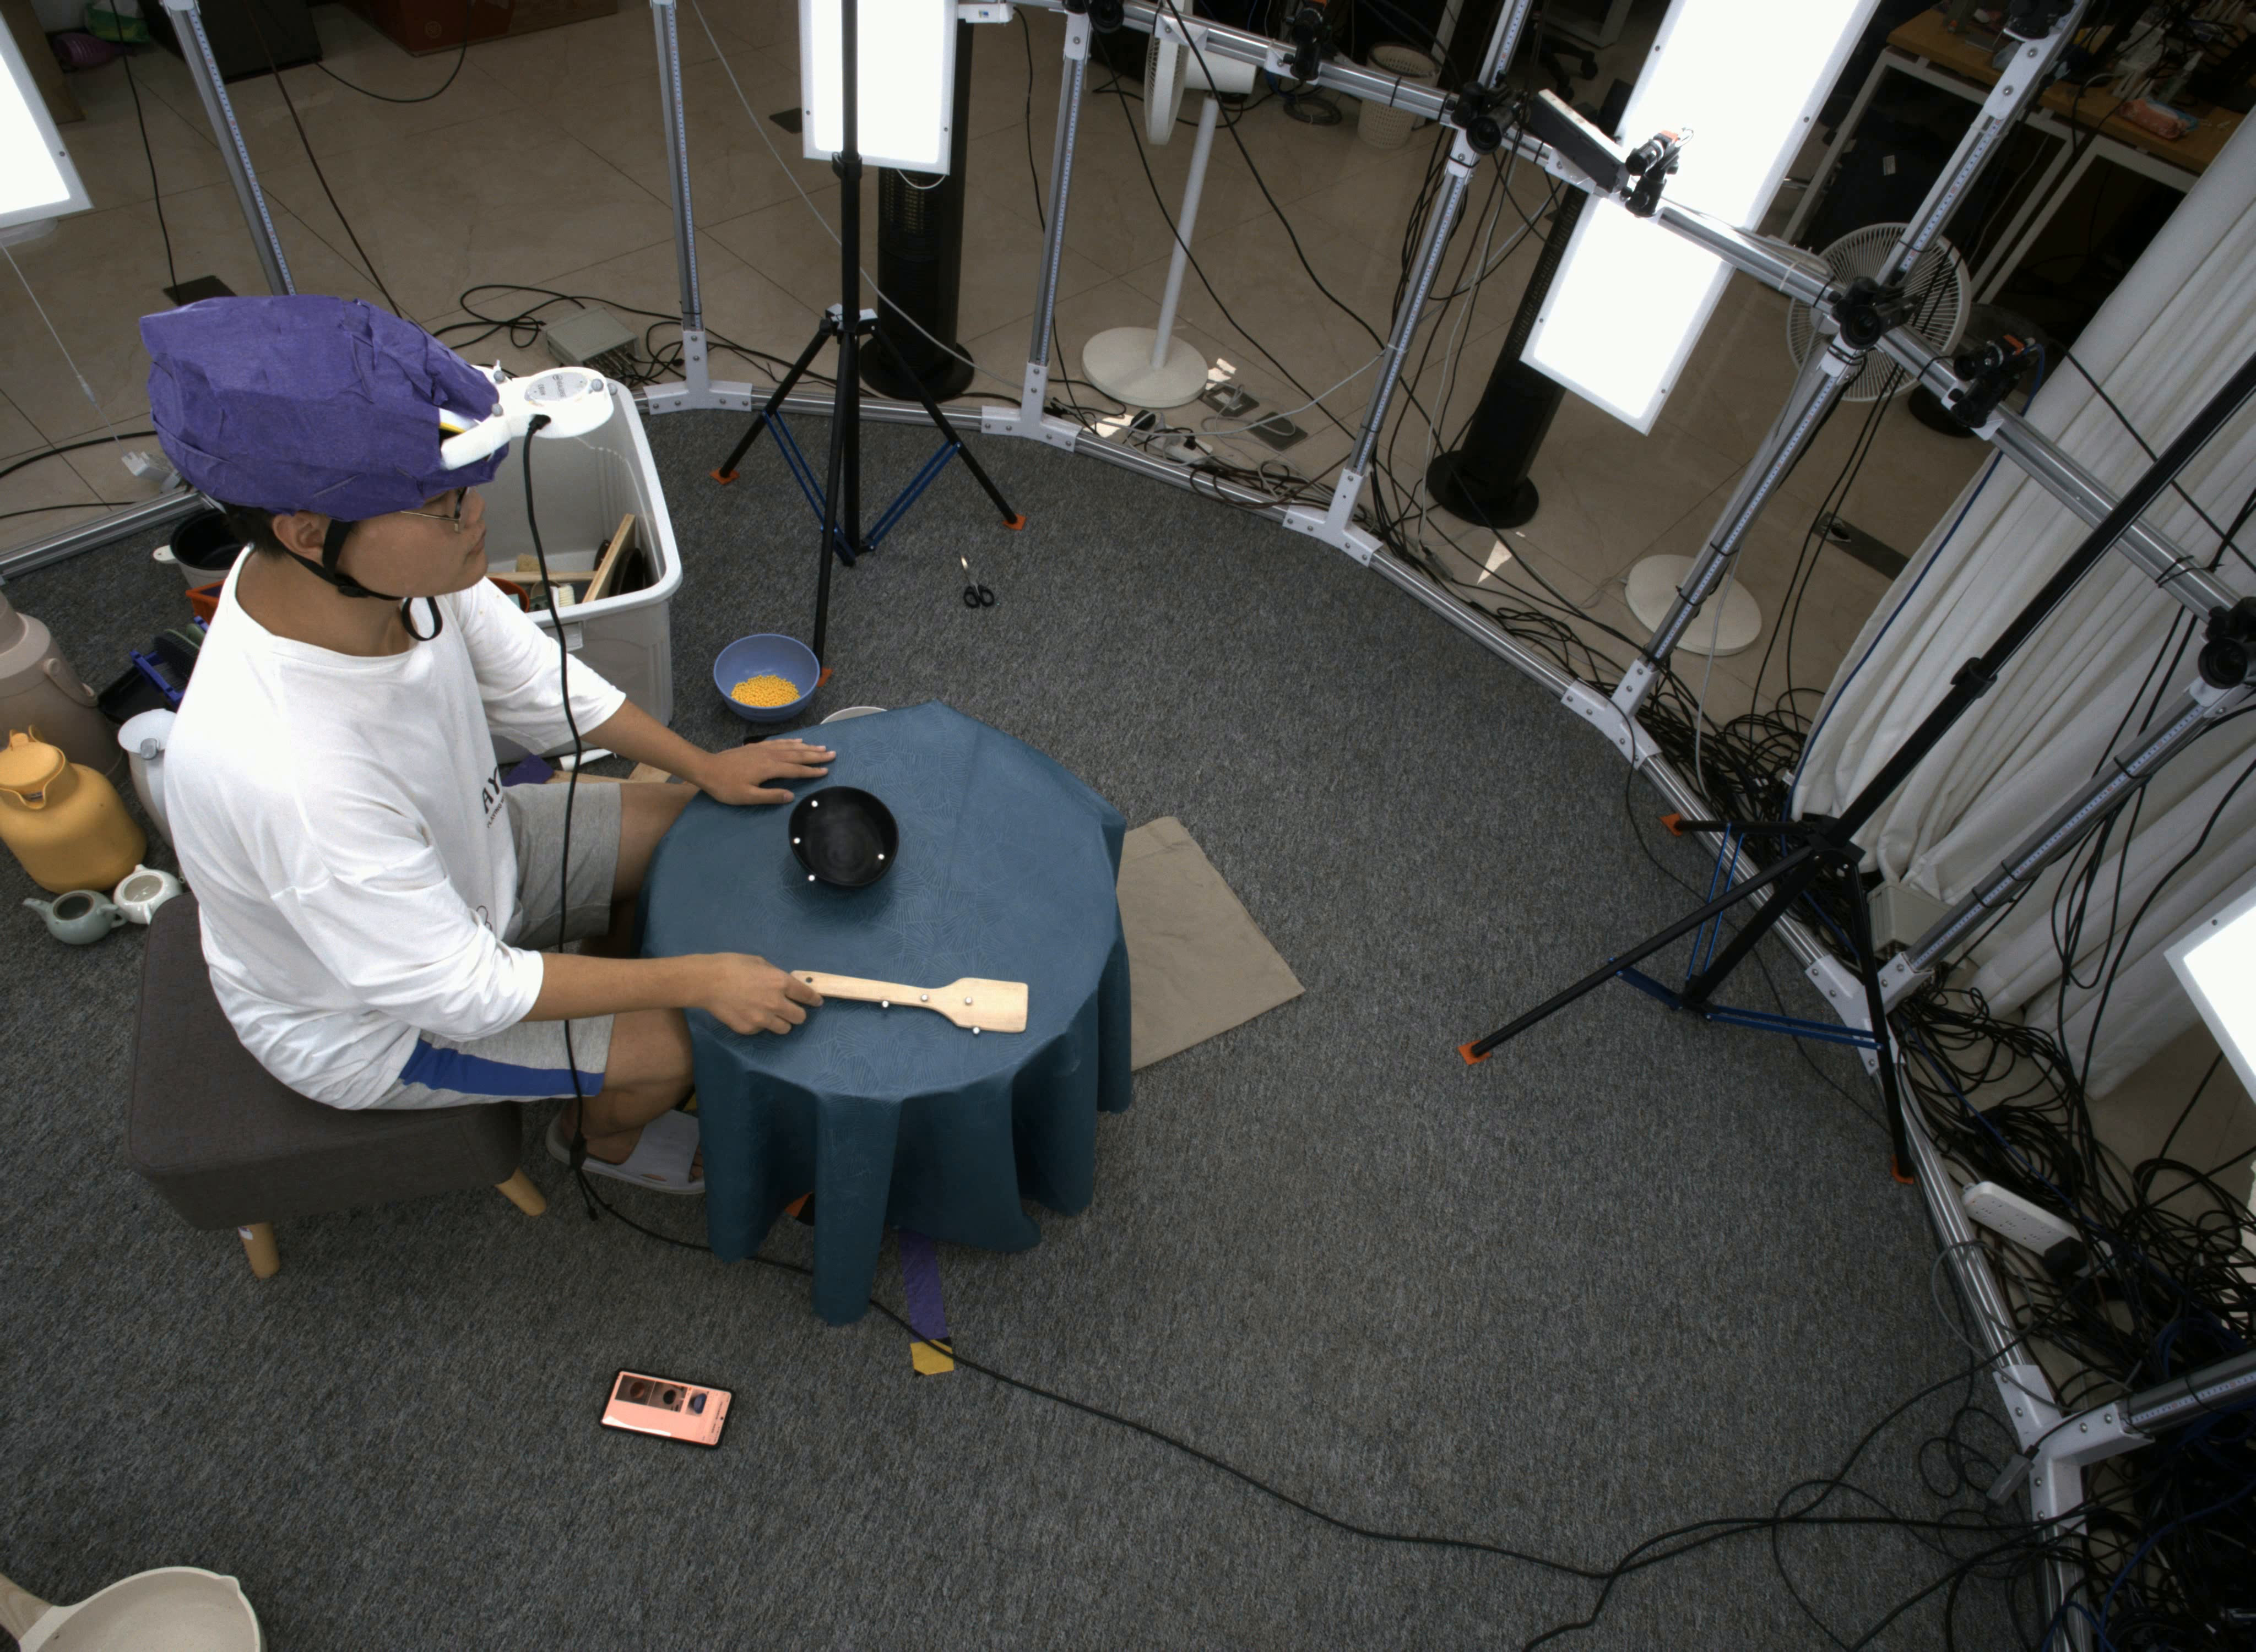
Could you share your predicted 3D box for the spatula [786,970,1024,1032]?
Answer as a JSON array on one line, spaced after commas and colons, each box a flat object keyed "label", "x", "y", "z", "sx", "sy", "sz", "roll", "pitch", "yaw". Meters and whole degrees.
[{"label": "spatula", "x": -0.274, "y": 0.206, "z": 1.603, "sx": 0.293, "sy": 0.011, "sz": 0.071, "roll": 8, "pitch": 53, "yaw": -13}]

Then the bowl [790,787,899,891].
[{"label": "bowl", "x": -0.368, "y": 0.024, "z": 1.689, "sx": 0.138, "sy": 0.068, "sz": 0.166, "roll": -14, "pitch": 56, "yaw": -21}]
